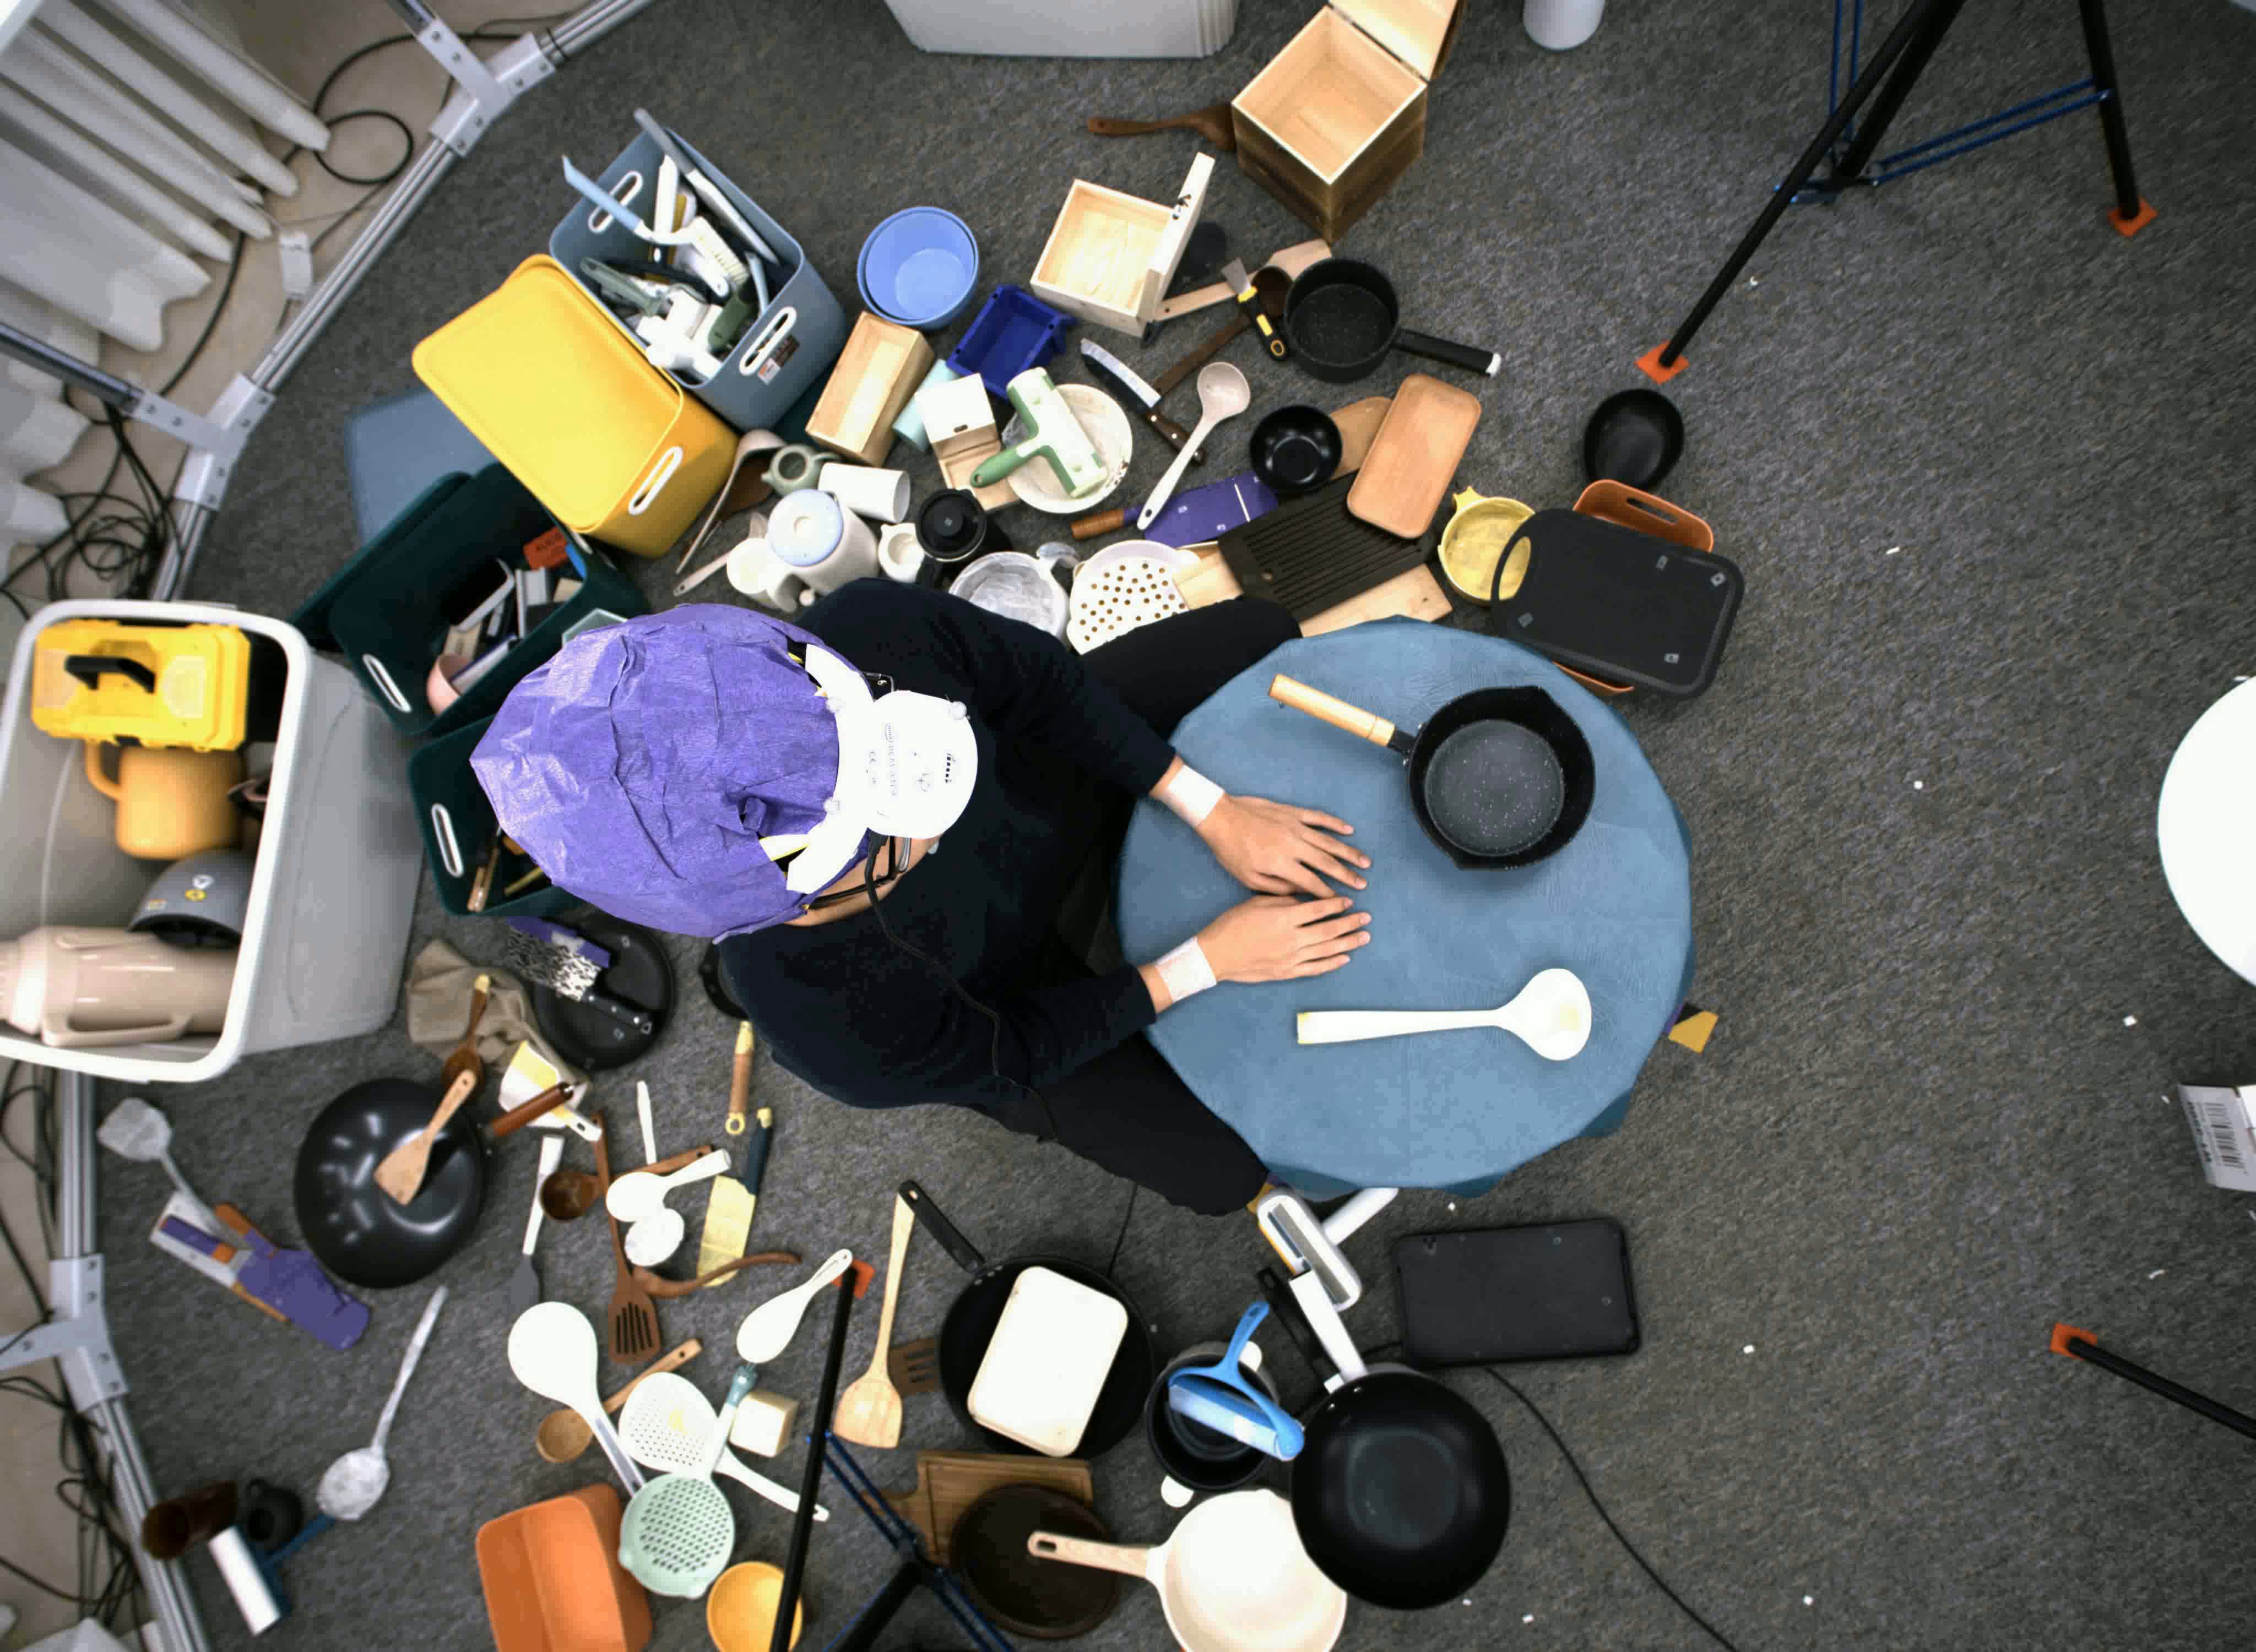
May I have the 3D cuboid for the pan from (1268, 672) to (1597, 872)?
[{"bbox_3d":[0.303,-0.076,1.407,0.343,0.108,0.207,22,91,10],"label":"pan"}]

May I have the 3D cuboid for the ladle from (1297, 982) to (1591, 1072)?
[{"bbox_3d":[0.318,0.204,1.411,0.294,0.070,0.090,-3,89,11],"label":"ladle"}]
